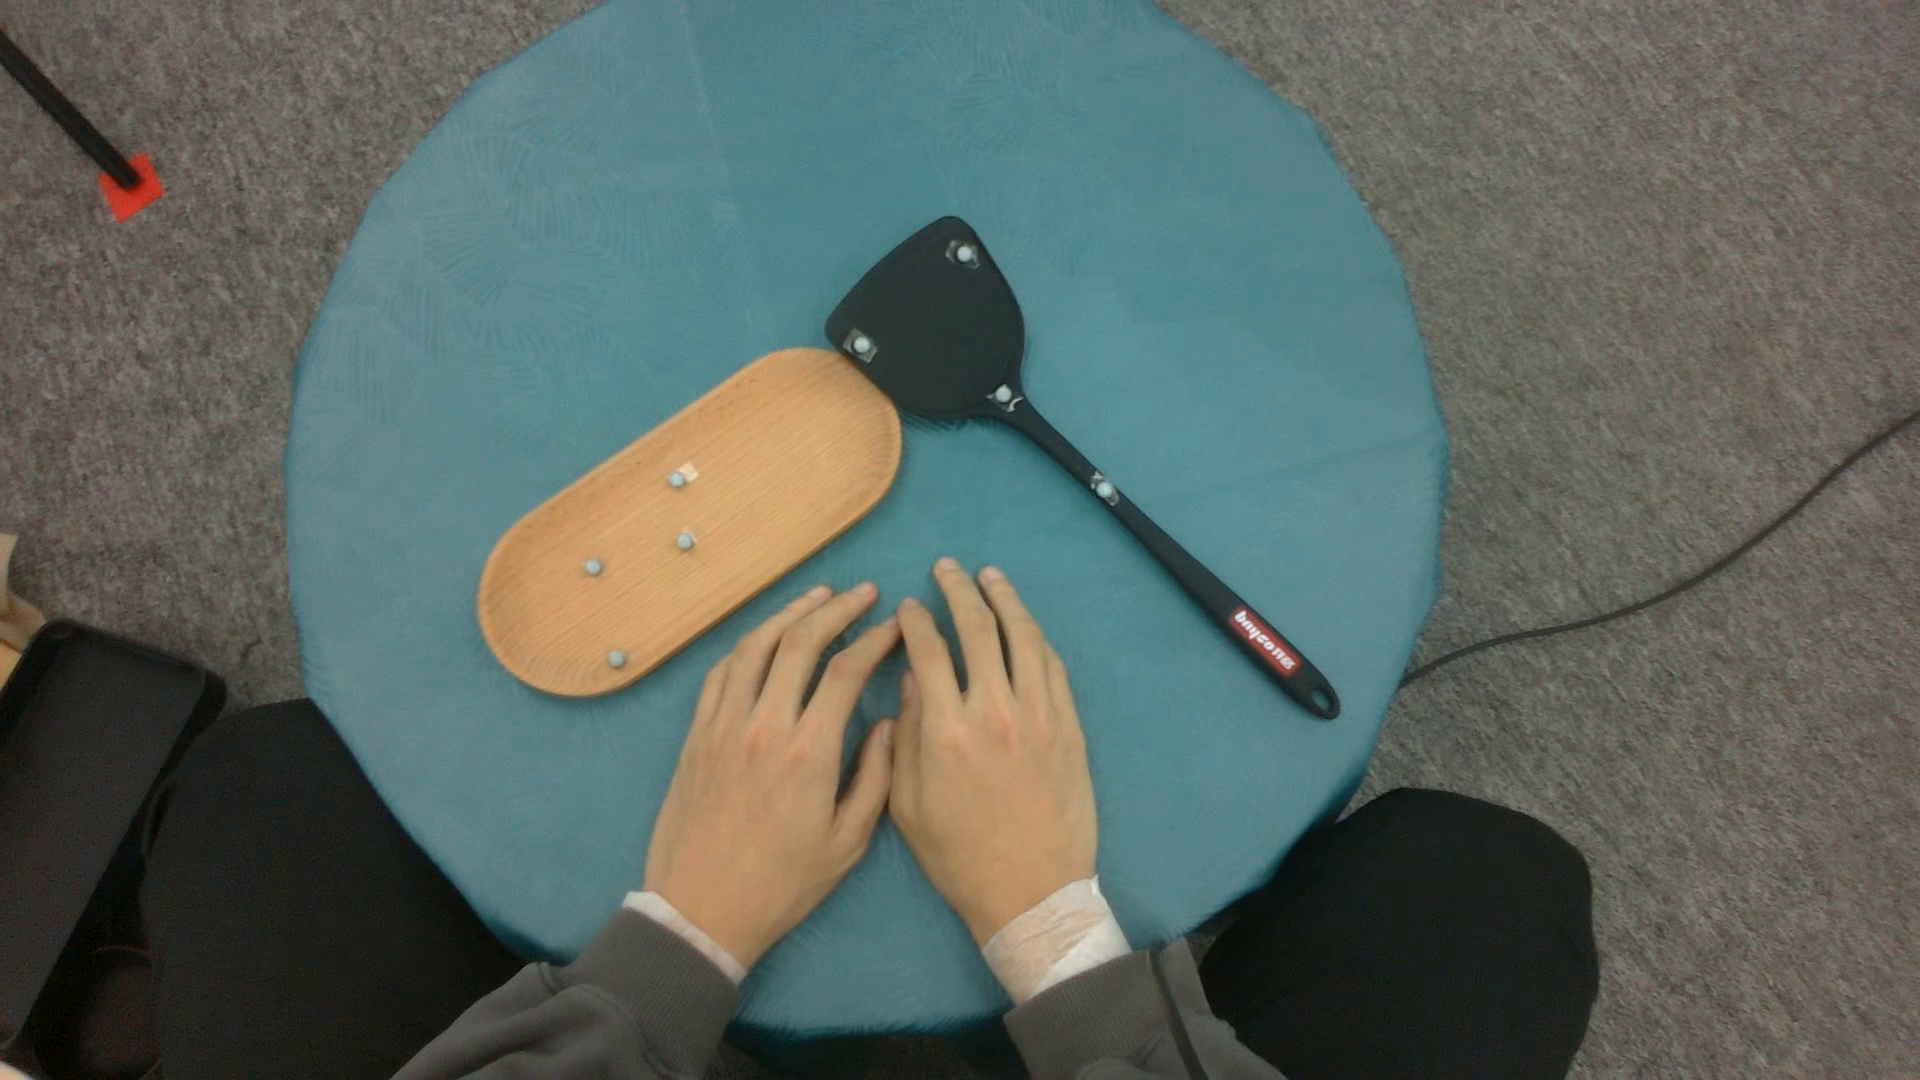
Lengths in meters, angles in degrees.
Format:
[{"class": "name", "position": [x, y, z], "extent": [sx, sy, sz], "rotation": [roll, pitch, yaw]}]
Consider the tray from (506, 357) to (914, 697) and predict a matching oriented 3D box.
[{"class": "tray", "position": [-0.126, -0.008, 0.710], "extent": [0.231, 0.020, 0.102], "rotation": [-37, 78, -12]}]

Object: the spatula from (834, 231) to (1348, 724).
[{"class": "spatula", "position": [0.077, -0.023, 0.708], "extent": [0.326, 0.040, 0.100], "rotation": [44, 79, 11]}]
